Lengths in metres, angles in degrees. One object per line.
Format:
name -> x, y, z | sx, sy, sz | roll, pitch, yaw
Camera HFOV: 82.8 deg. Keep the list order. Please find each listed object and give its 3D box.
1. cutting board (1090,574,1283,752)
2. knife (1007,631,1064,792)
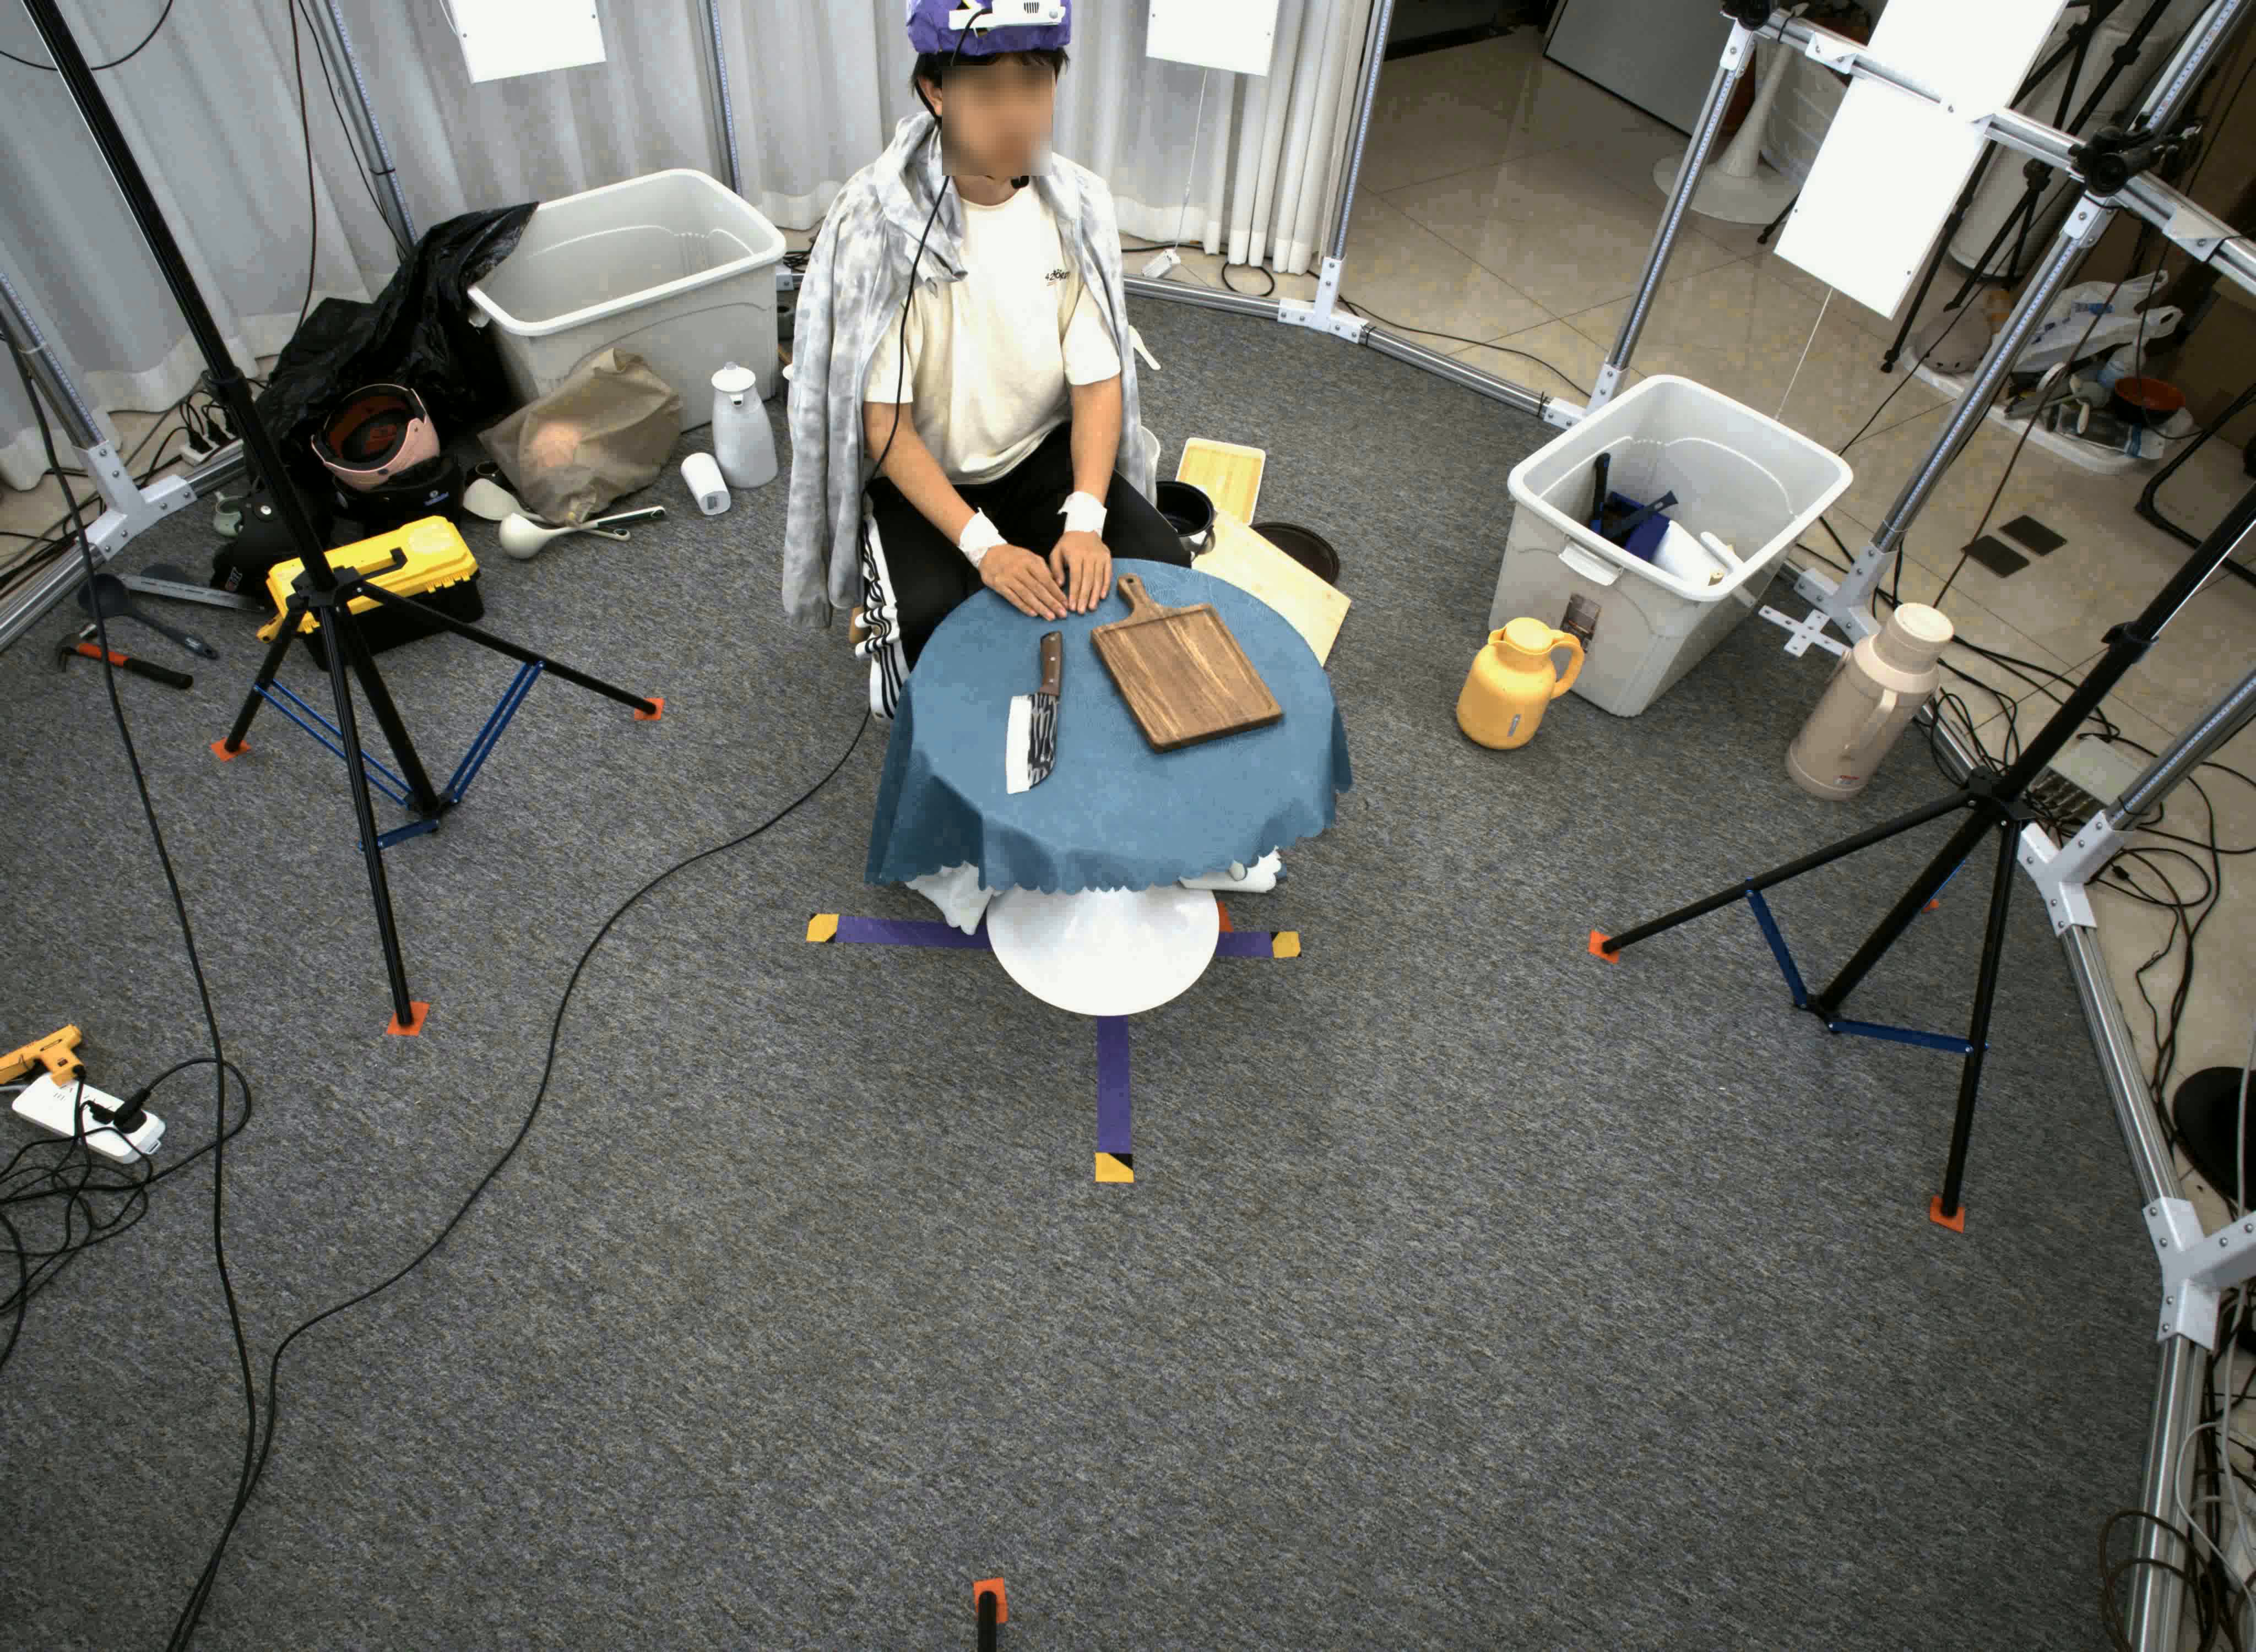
cutting board -> 0.062, -0.256, 1.874 | 0.201, 0.022, 0.360 | -15, 51, -17
knife -> -0.128, -0.163, 1.781 | 0.068, 0.023, 0.307 | 2, 51, 2
